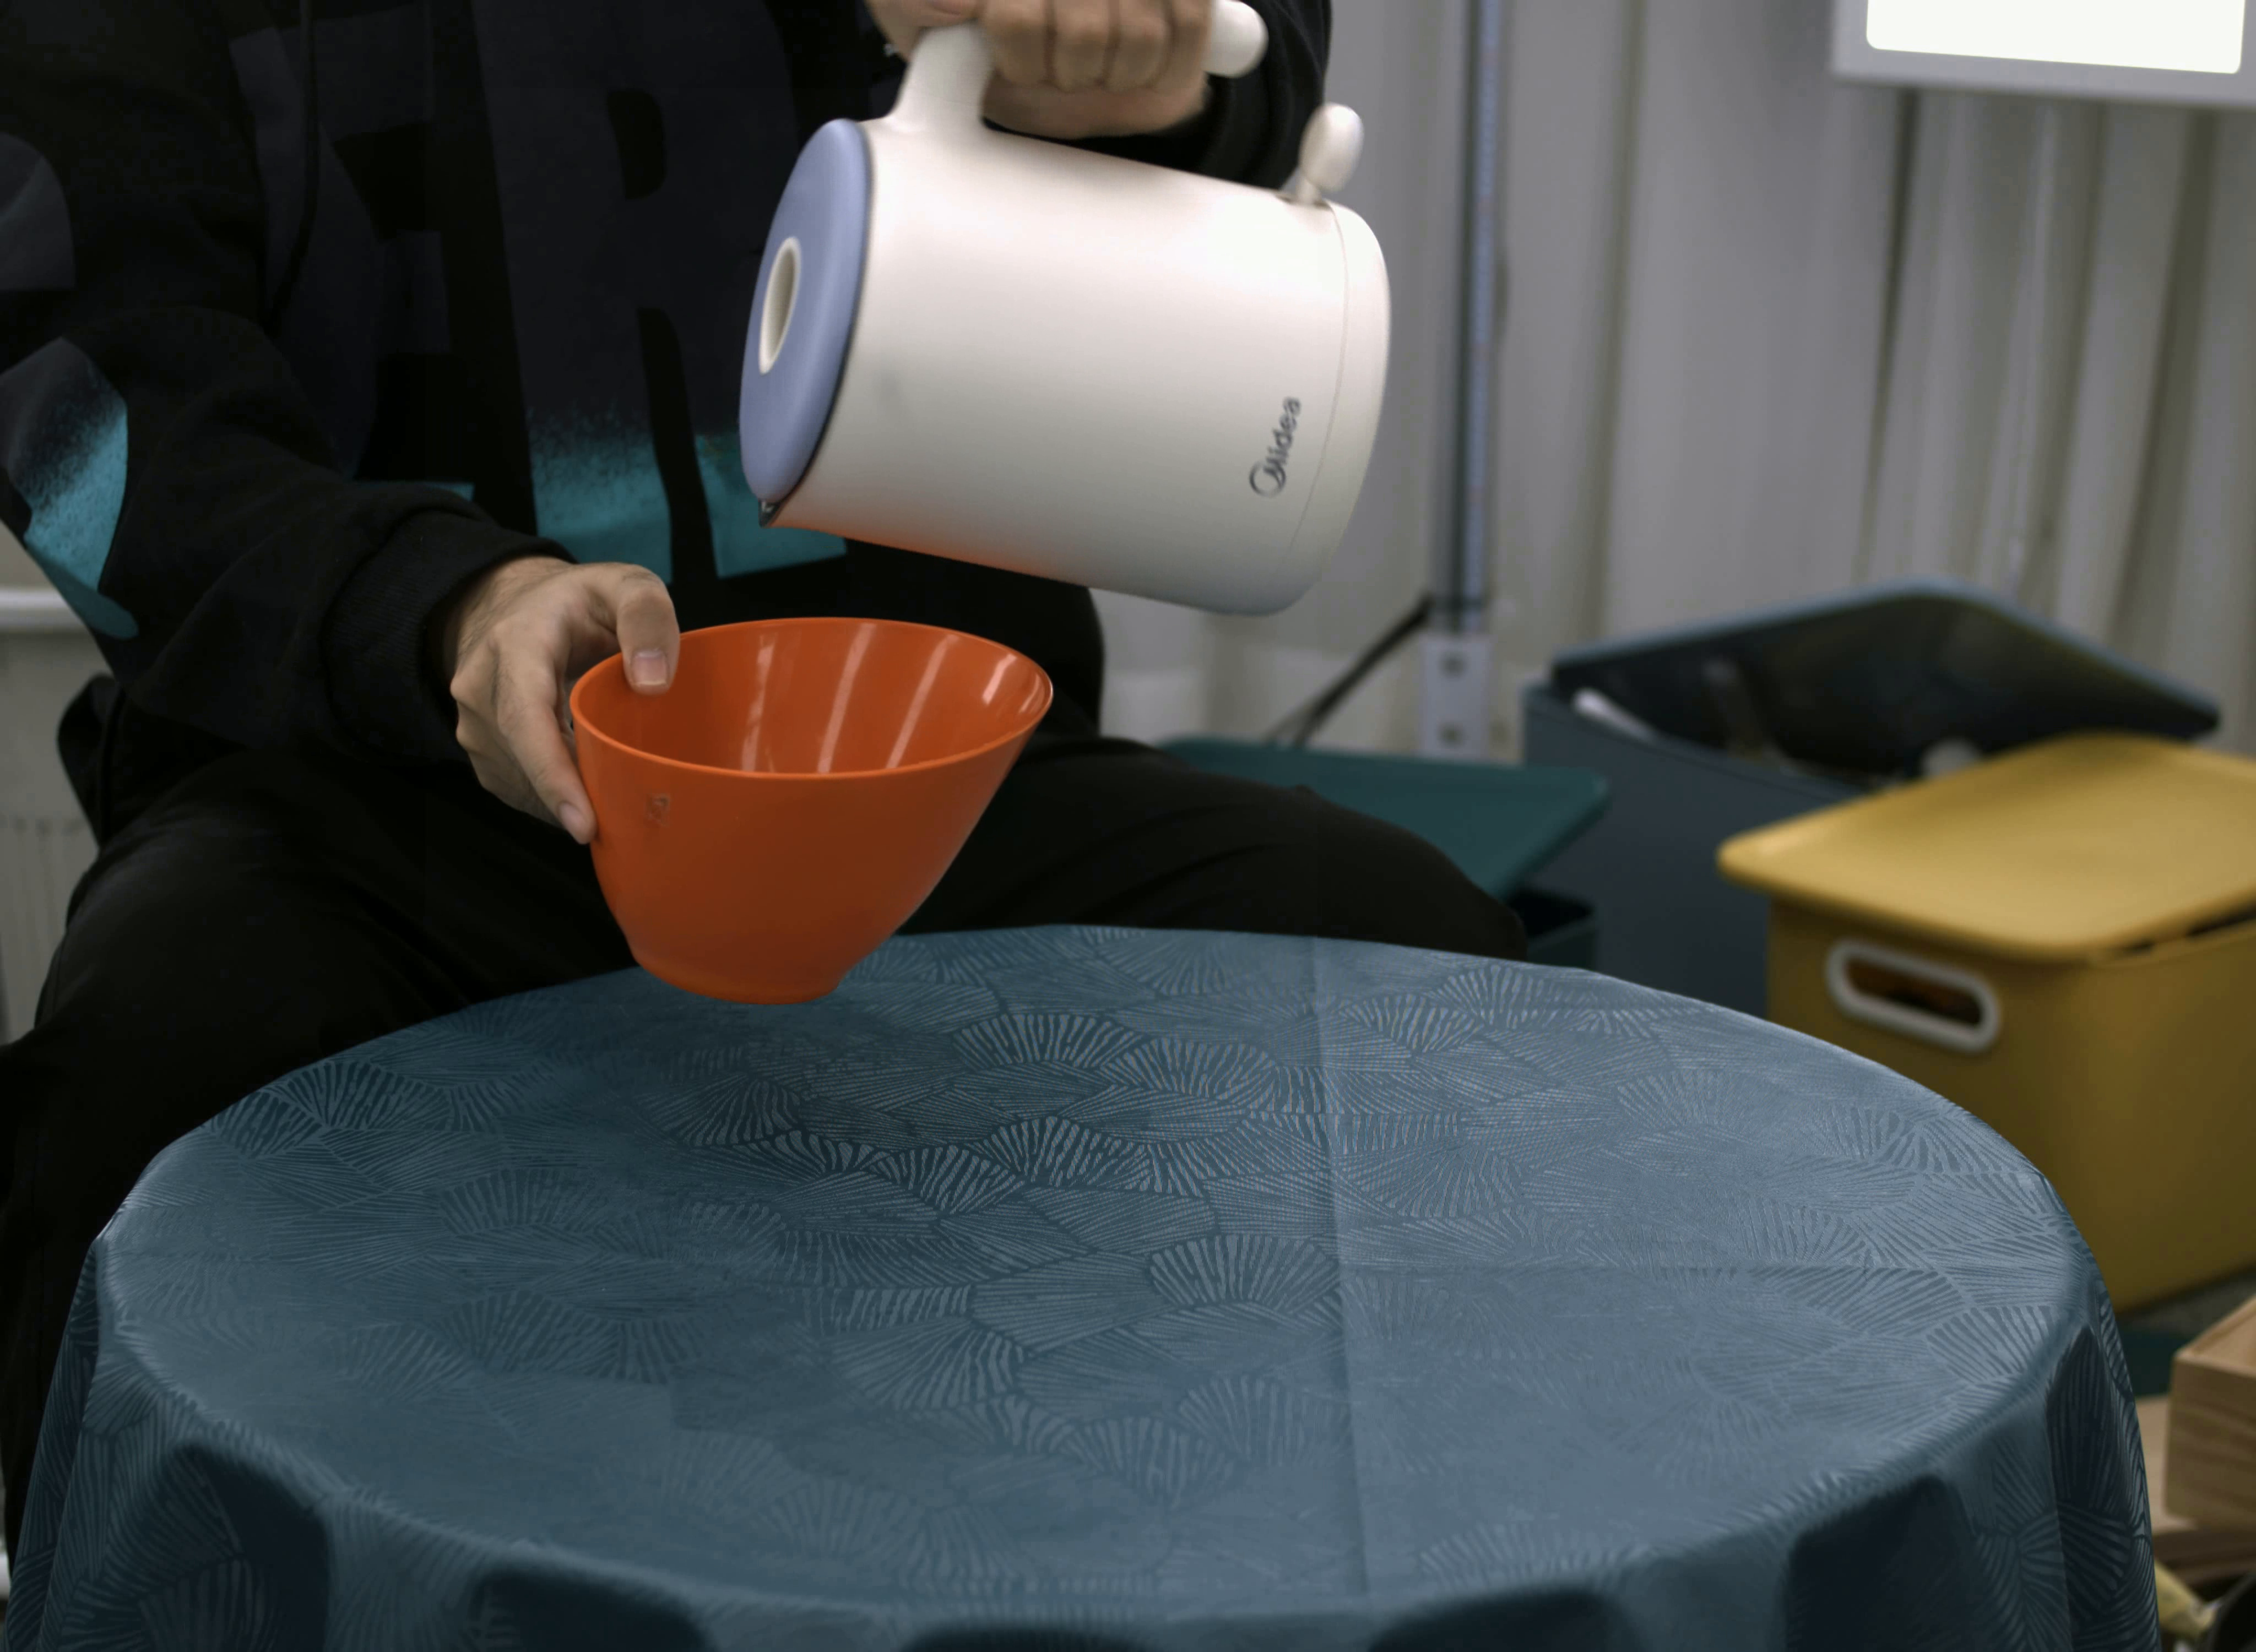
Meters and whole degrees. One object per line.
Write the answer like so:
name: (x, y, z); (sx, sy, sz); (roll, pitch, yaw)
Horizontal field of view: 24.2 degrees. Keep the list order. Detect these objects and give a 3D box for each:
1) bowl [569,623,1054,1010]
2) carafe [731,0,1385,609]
bowl: (-0.104, -0.002, 1.630); (0.148, 0.105, 0.147); (10, 19, -3)
carafe: (-0.016, -0.167, 1.599); (0.183, 0.192, 0.131); (11, 13, -18)
